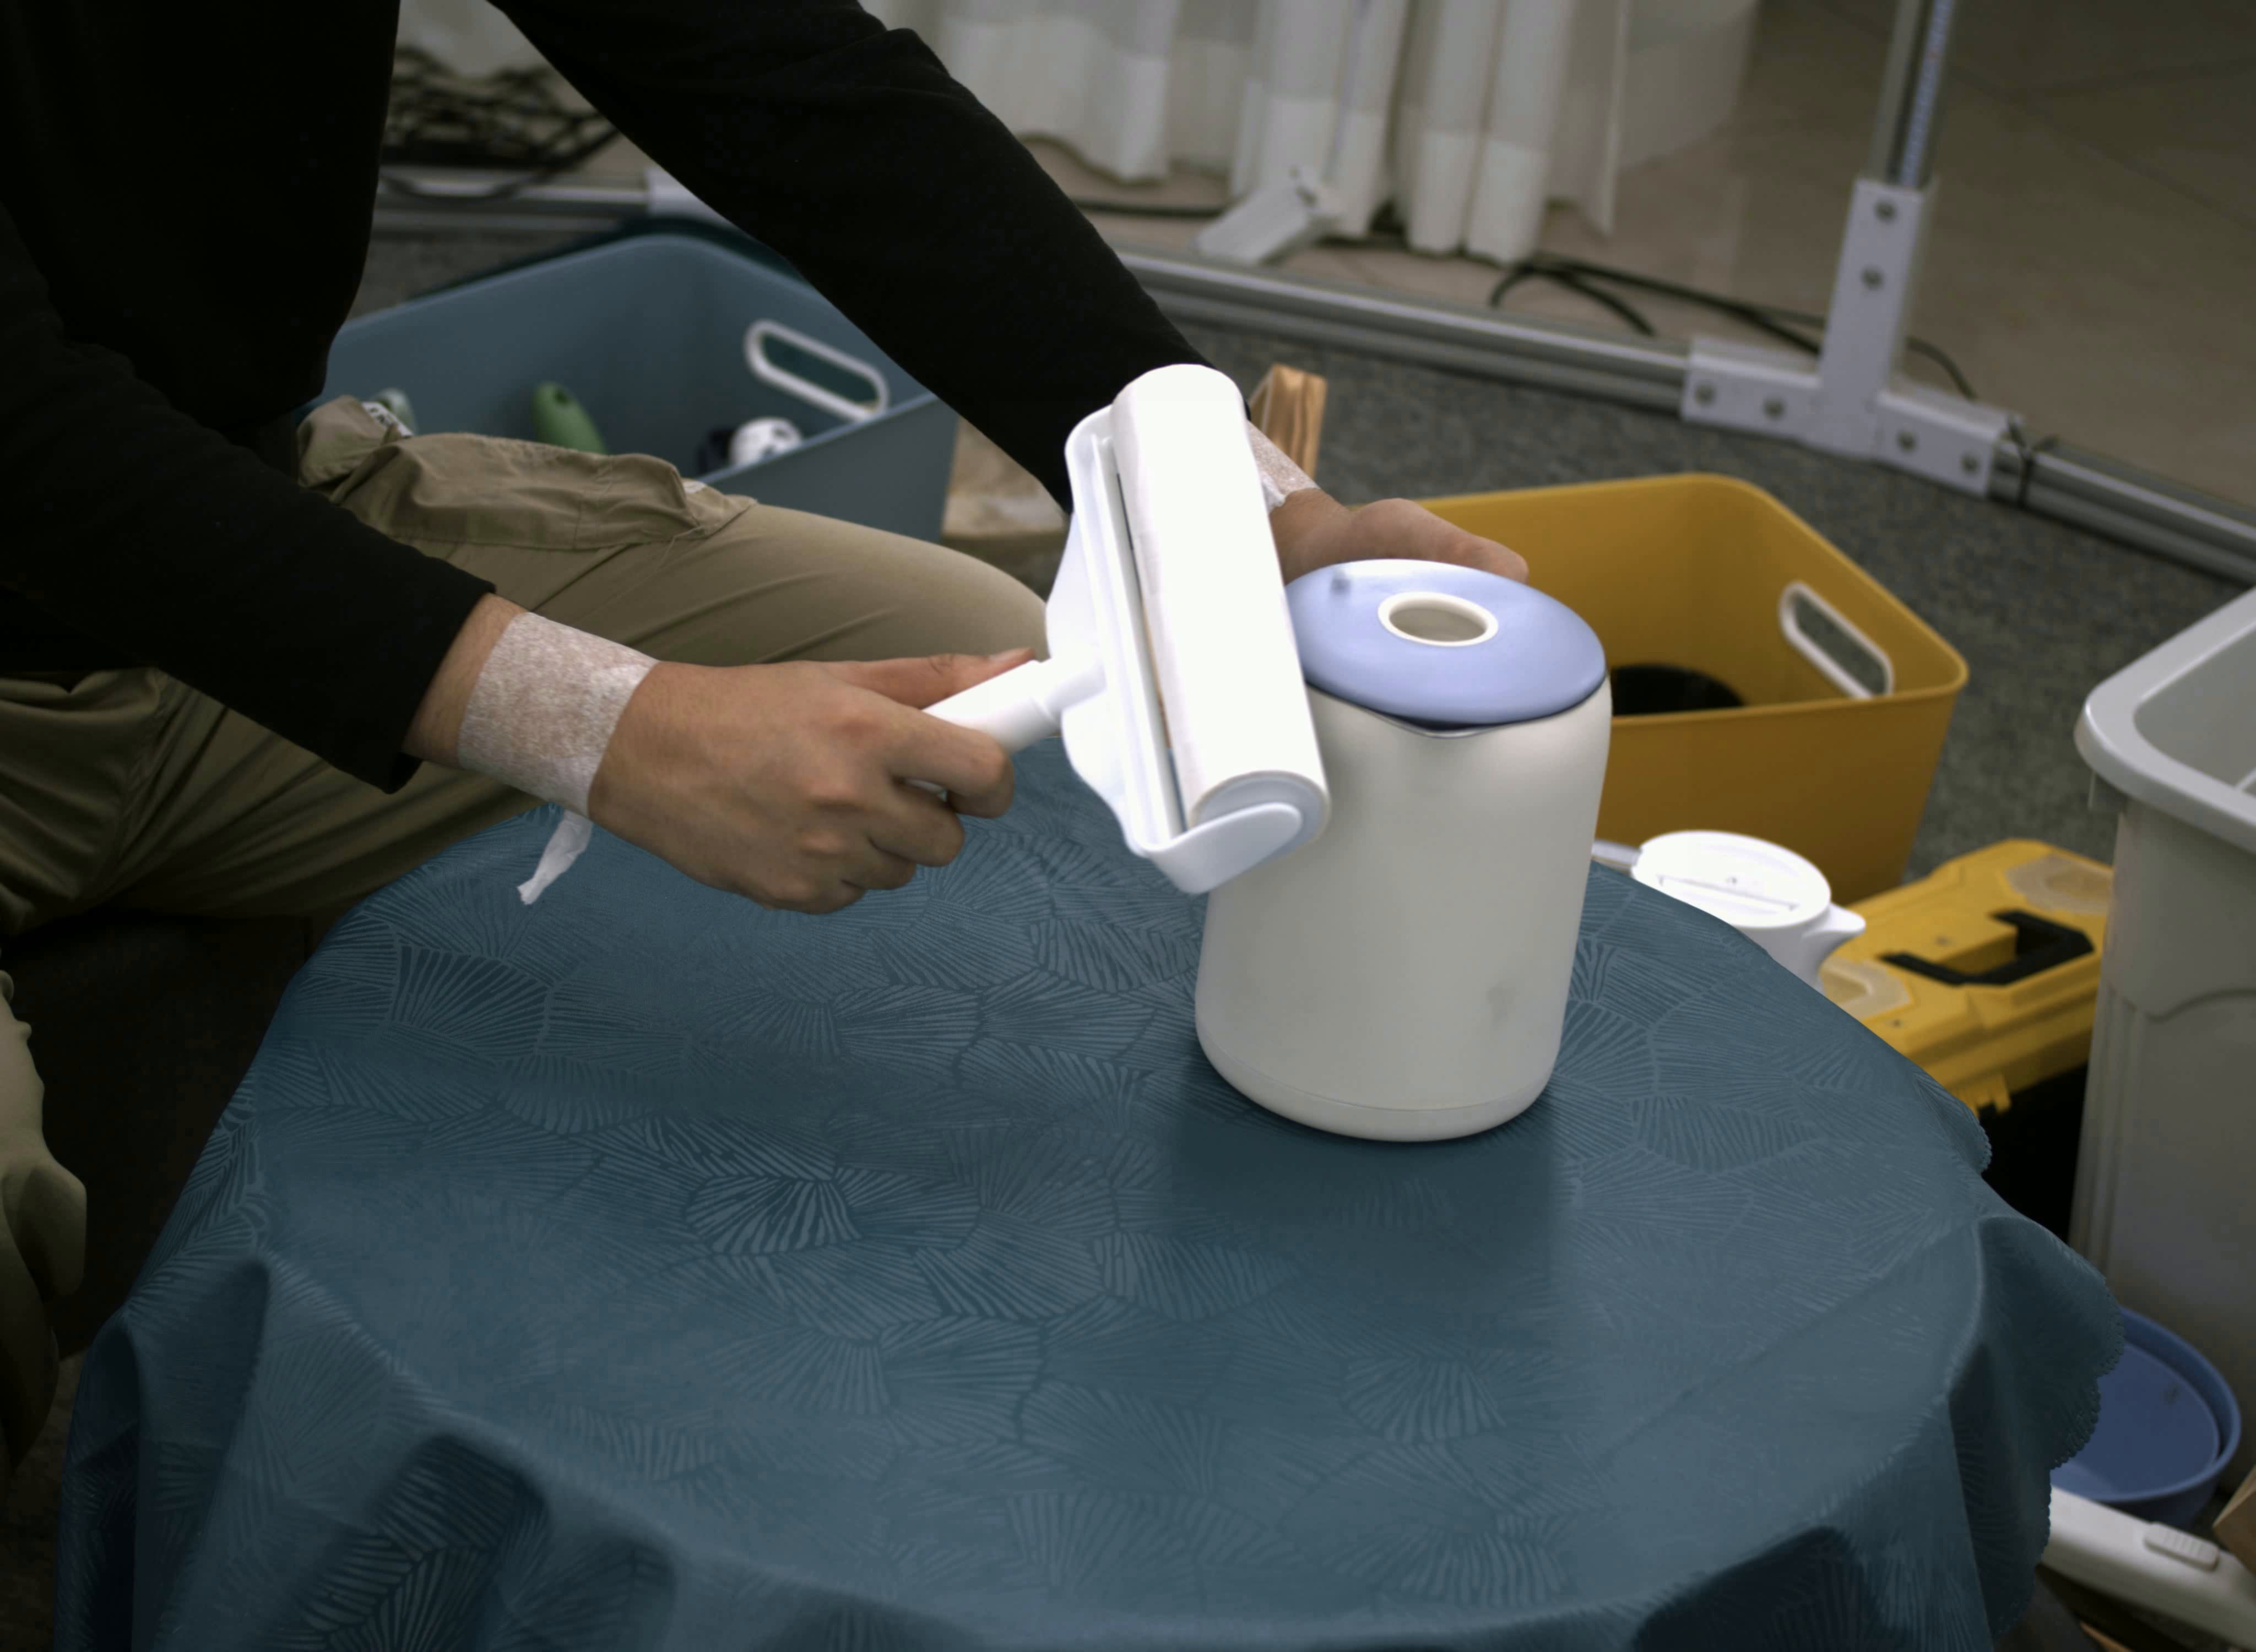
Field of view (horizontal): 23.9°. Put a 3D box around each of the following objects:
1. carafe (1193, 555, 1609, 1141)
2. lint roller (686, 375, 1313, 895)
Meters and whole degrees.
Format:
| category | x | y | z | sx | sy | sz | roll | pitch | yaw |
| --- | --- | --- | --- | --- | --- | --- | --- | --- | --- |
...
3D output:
| category | x | y | z | sx | sy | sz | roll | pitch | yaw |
| --- | --- | --- | --- | --- | --- | --- | --- | --- | --- |
| carafe | 0.095 | -0.004 | 1.884 | 0.132 | 0.182 | 0.192 | 6 | 25 | -3 |
| lint roller | -0.054 | -0.037 | 1.796 | 0.225 | 0.048 | 0.204 | -23 | 47 | 13 |
